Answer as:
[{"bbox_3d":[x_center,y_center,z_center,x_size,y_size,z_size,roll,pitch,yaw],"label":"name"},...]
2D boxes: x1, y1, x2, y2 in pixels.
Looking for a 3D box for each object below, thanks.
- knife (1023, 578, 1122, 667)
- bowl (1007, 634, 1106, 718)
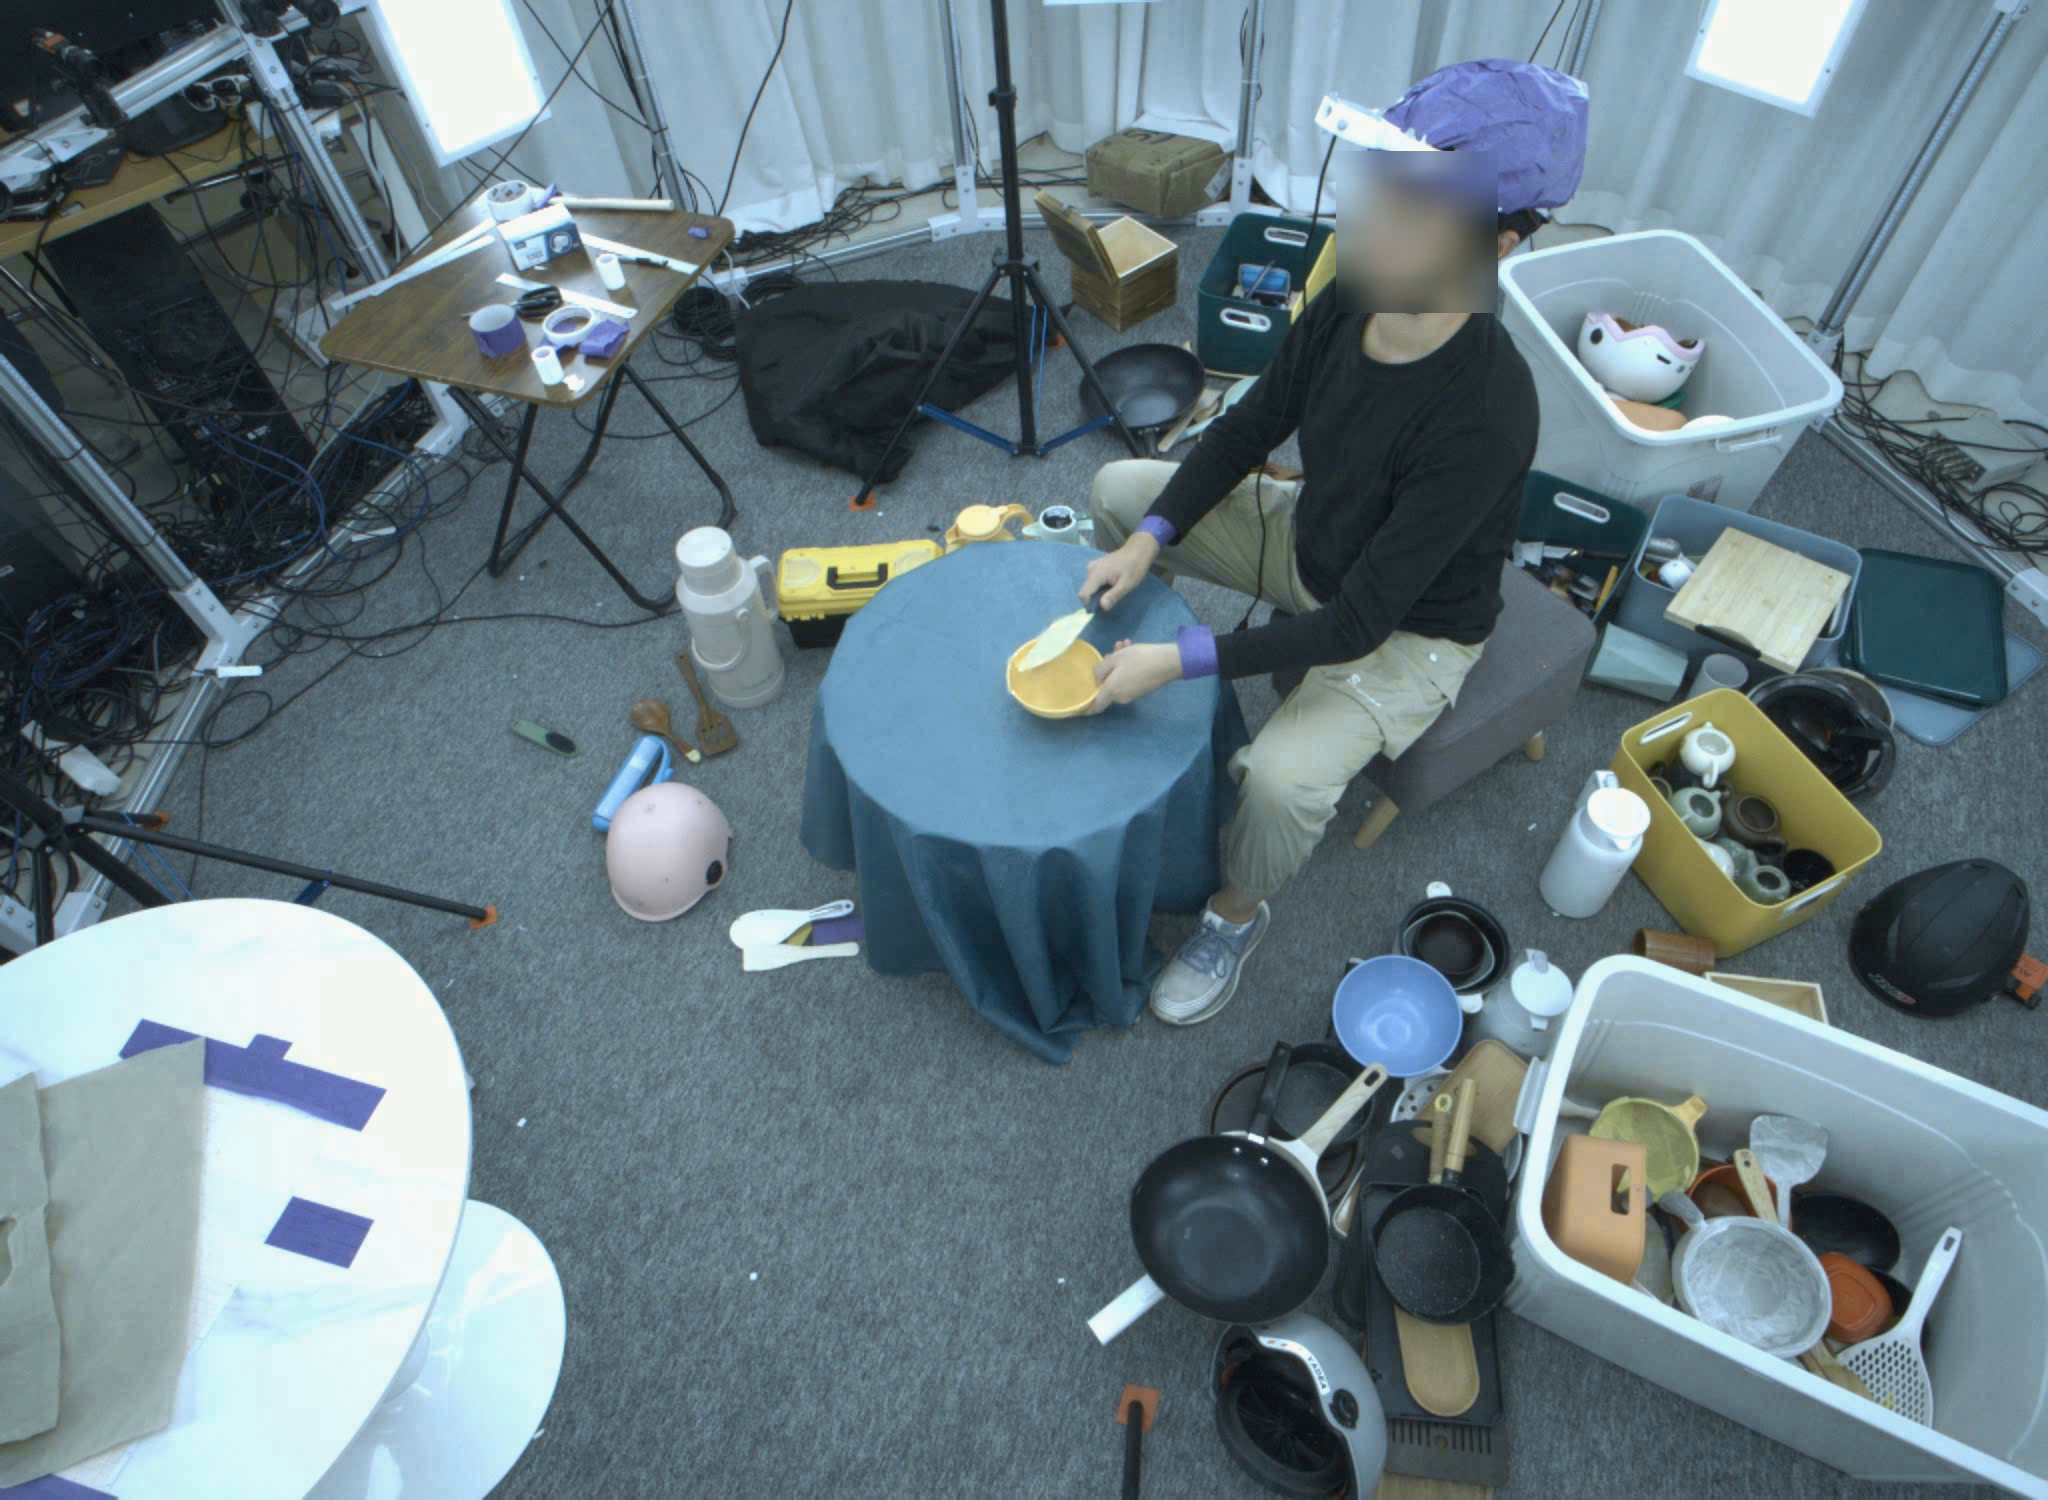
[{"bbox_3d":[0.075,-0.190,1.834,0.079,0.027,0.291,-4,28,33],"label":"knife"},{"bbox_3d":[0.048,-0.098,1.812,0.145,0.061,0.144,0,57,1],"label":"bowl"}]
